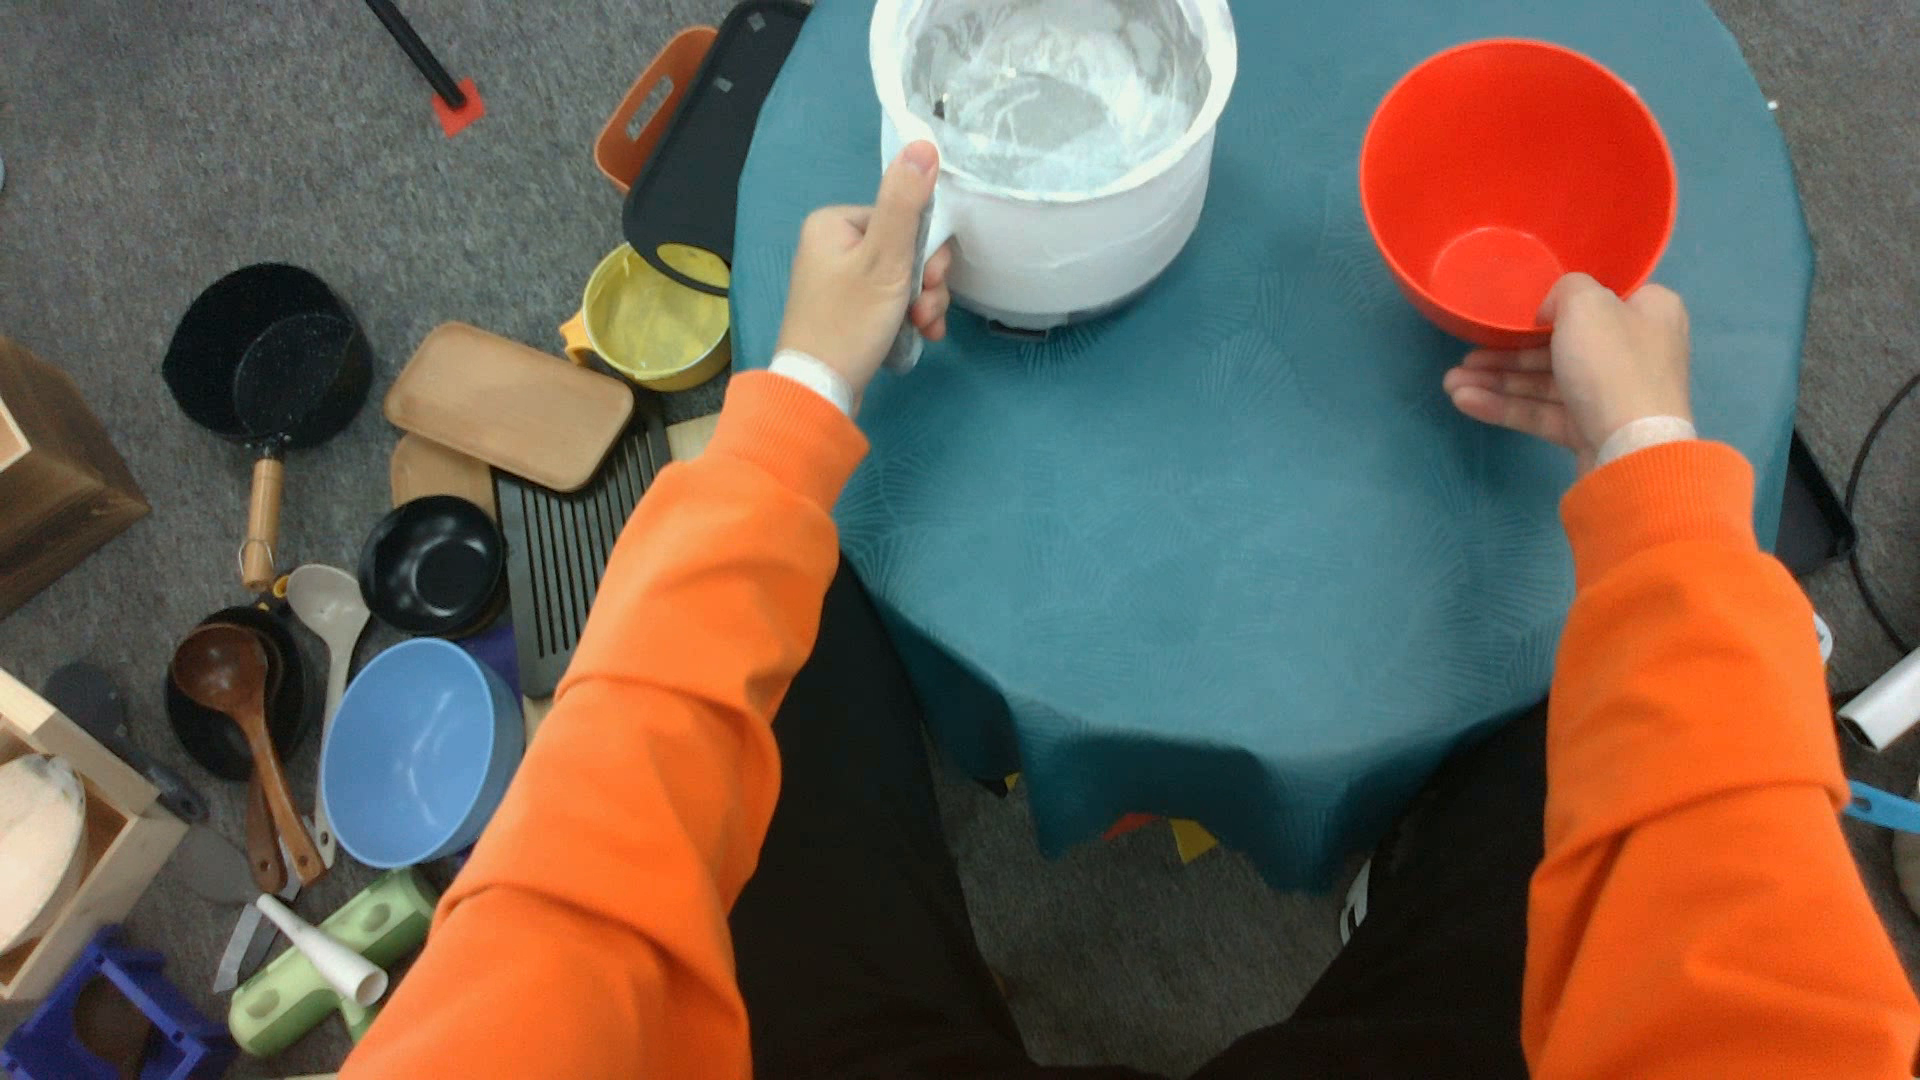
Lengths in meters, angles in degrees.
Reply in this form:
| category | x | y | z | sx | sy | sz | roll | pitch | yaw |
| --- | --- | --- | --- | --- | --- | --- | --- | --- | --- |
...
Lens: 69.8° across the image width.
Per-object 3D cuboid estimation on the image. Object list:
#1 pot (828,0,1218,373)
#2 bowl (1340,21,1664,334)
| category | x | y | z | sx | sy | sz | roll | pitch | yaw |
| --- | --- | --- | --- | --- | --- | --- | --- | --- | --- |
| pot | 0.018 | -0.191 | 0.714 | 0.179 | 0.136 | 0.234 | 36 | 72 | 11 |
| bowl | 0.264 | -0.166 | 0.690 | 0.148 | 0.104 | 0.148 | -3 | 77 | 12 |
